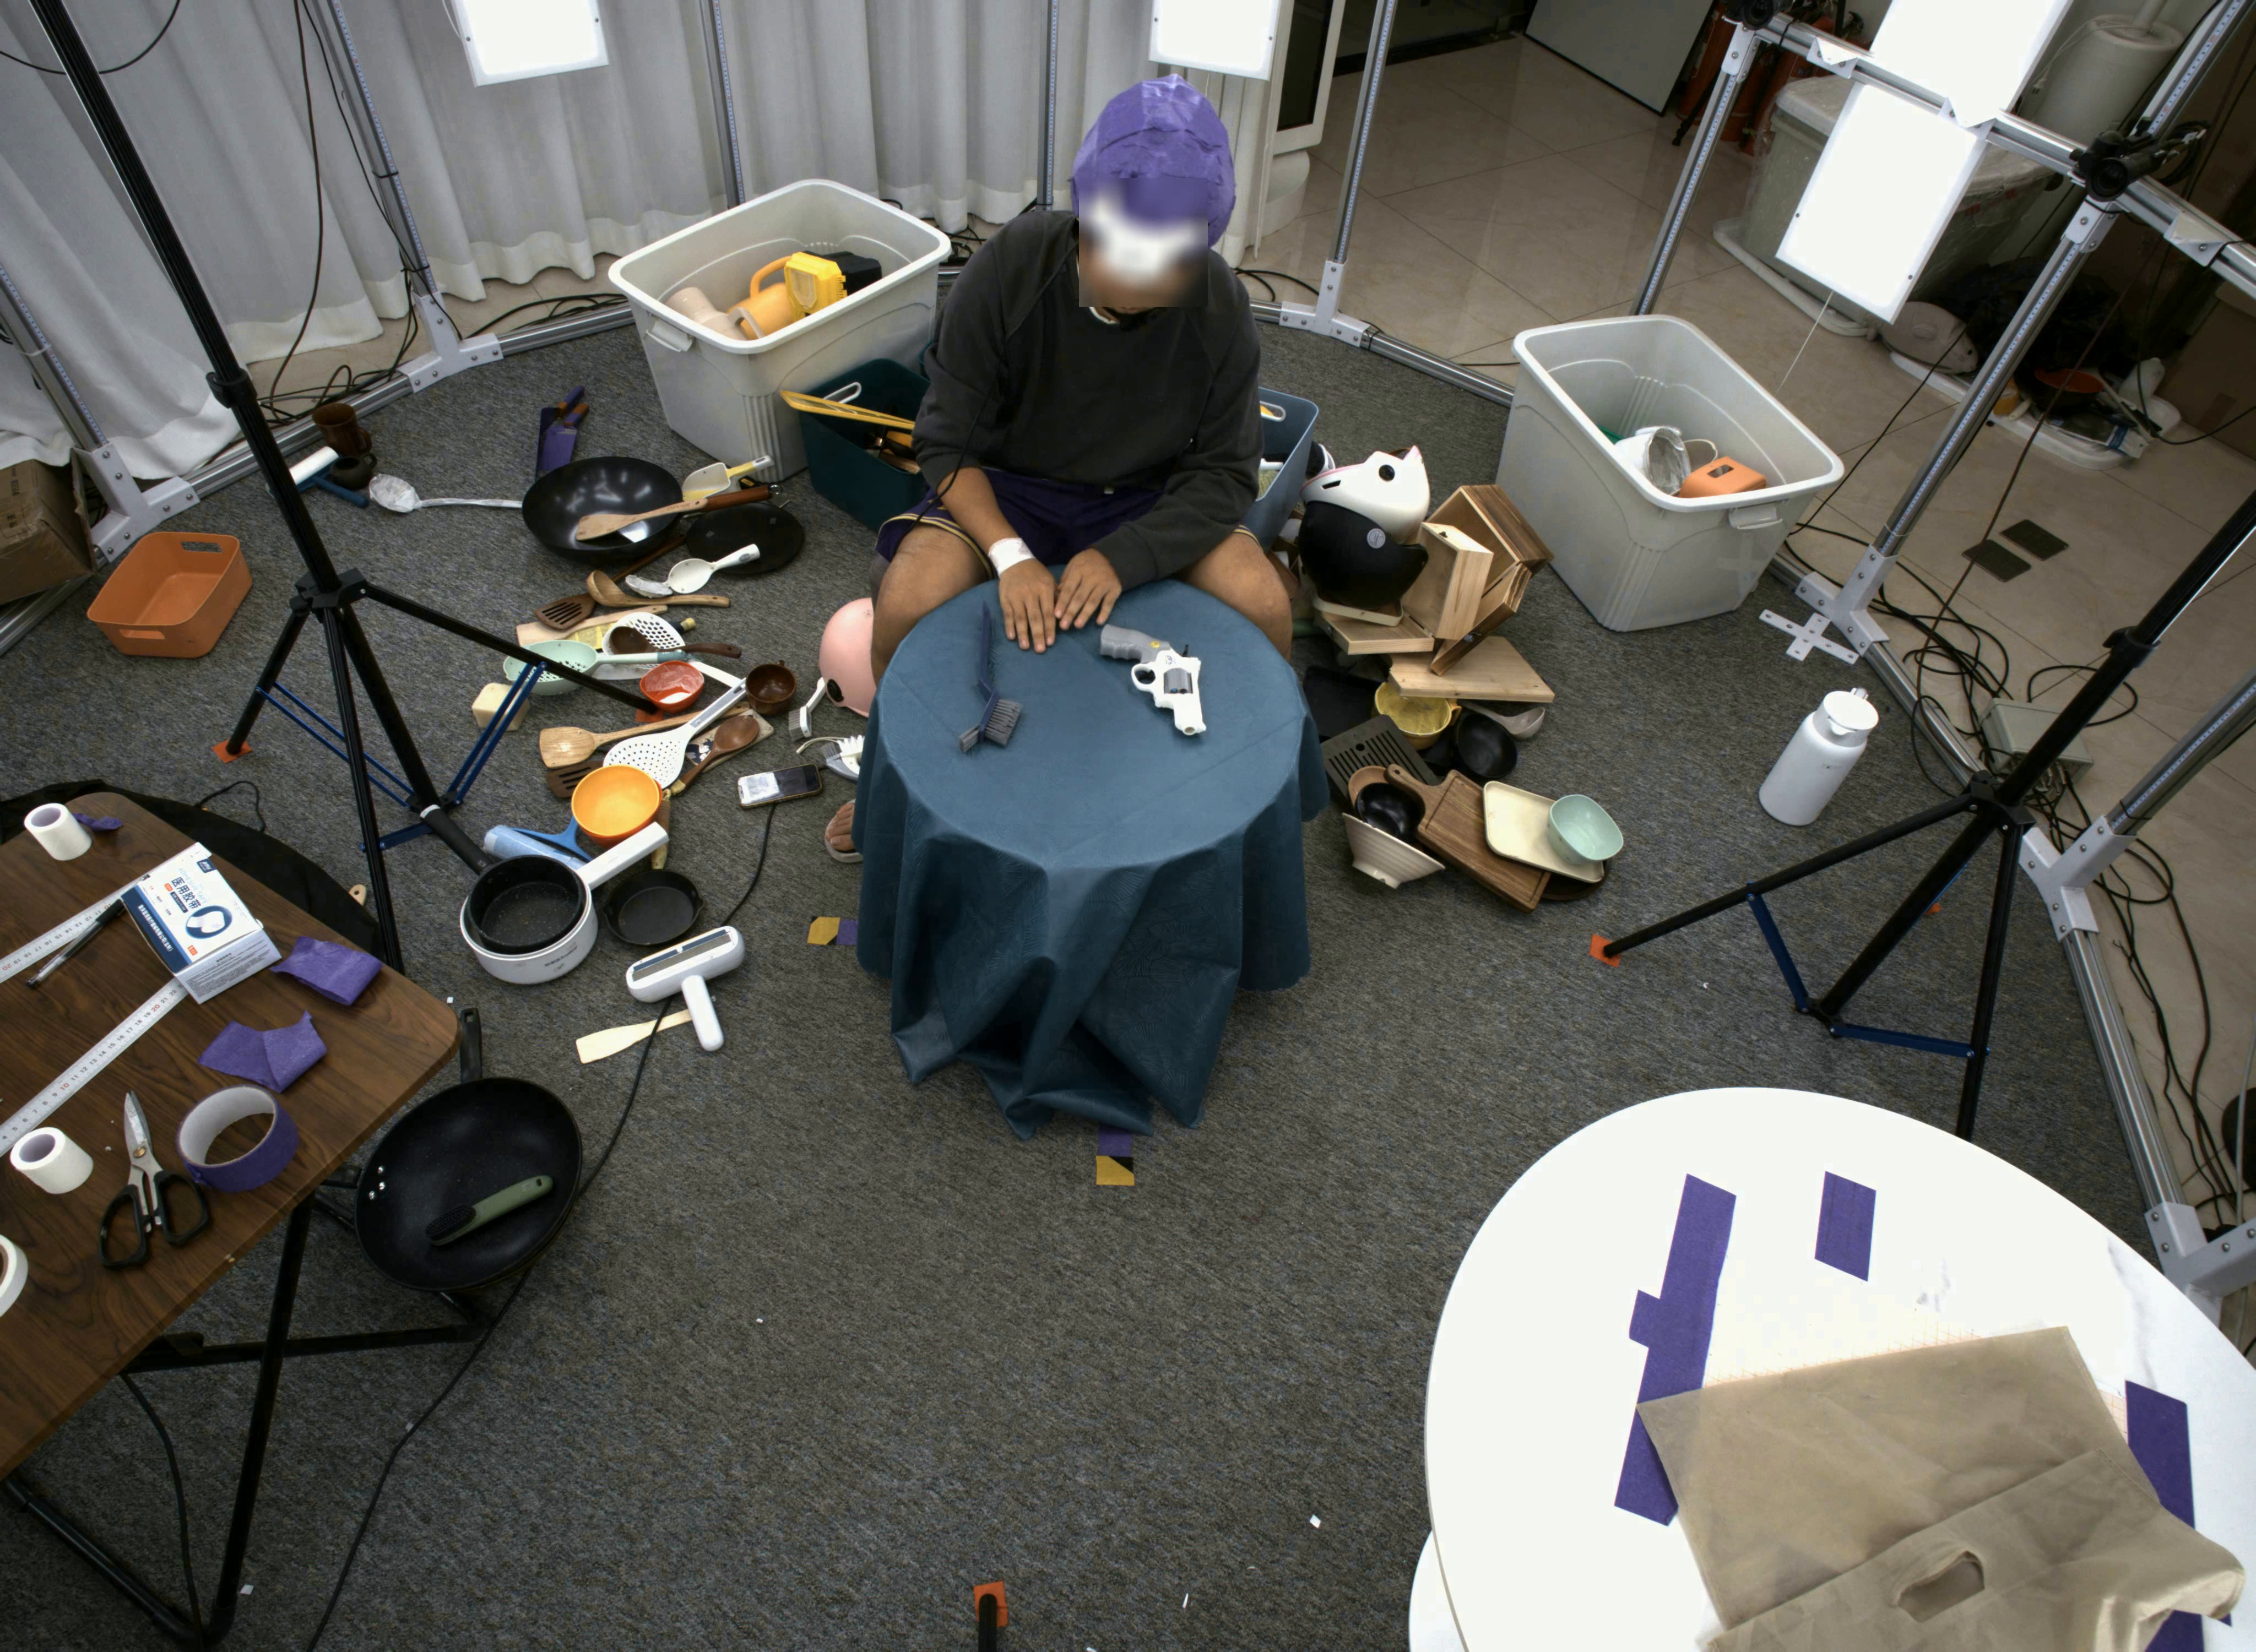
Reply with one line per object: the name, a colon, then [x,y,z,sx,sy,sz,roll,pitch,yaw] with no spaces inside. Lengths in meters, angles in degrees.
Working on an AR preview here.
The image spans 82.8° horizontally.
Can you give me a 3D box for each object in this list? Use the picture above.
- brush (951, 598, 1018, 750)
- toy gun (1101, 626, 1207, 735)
brush: [-0.210,-0.219,1.822,0.095,0.033,0.280,-4,50,-8]
toy gun: [0.035,-0.211,1.827,0.141,0.038,0.214,-1,48,-4]
